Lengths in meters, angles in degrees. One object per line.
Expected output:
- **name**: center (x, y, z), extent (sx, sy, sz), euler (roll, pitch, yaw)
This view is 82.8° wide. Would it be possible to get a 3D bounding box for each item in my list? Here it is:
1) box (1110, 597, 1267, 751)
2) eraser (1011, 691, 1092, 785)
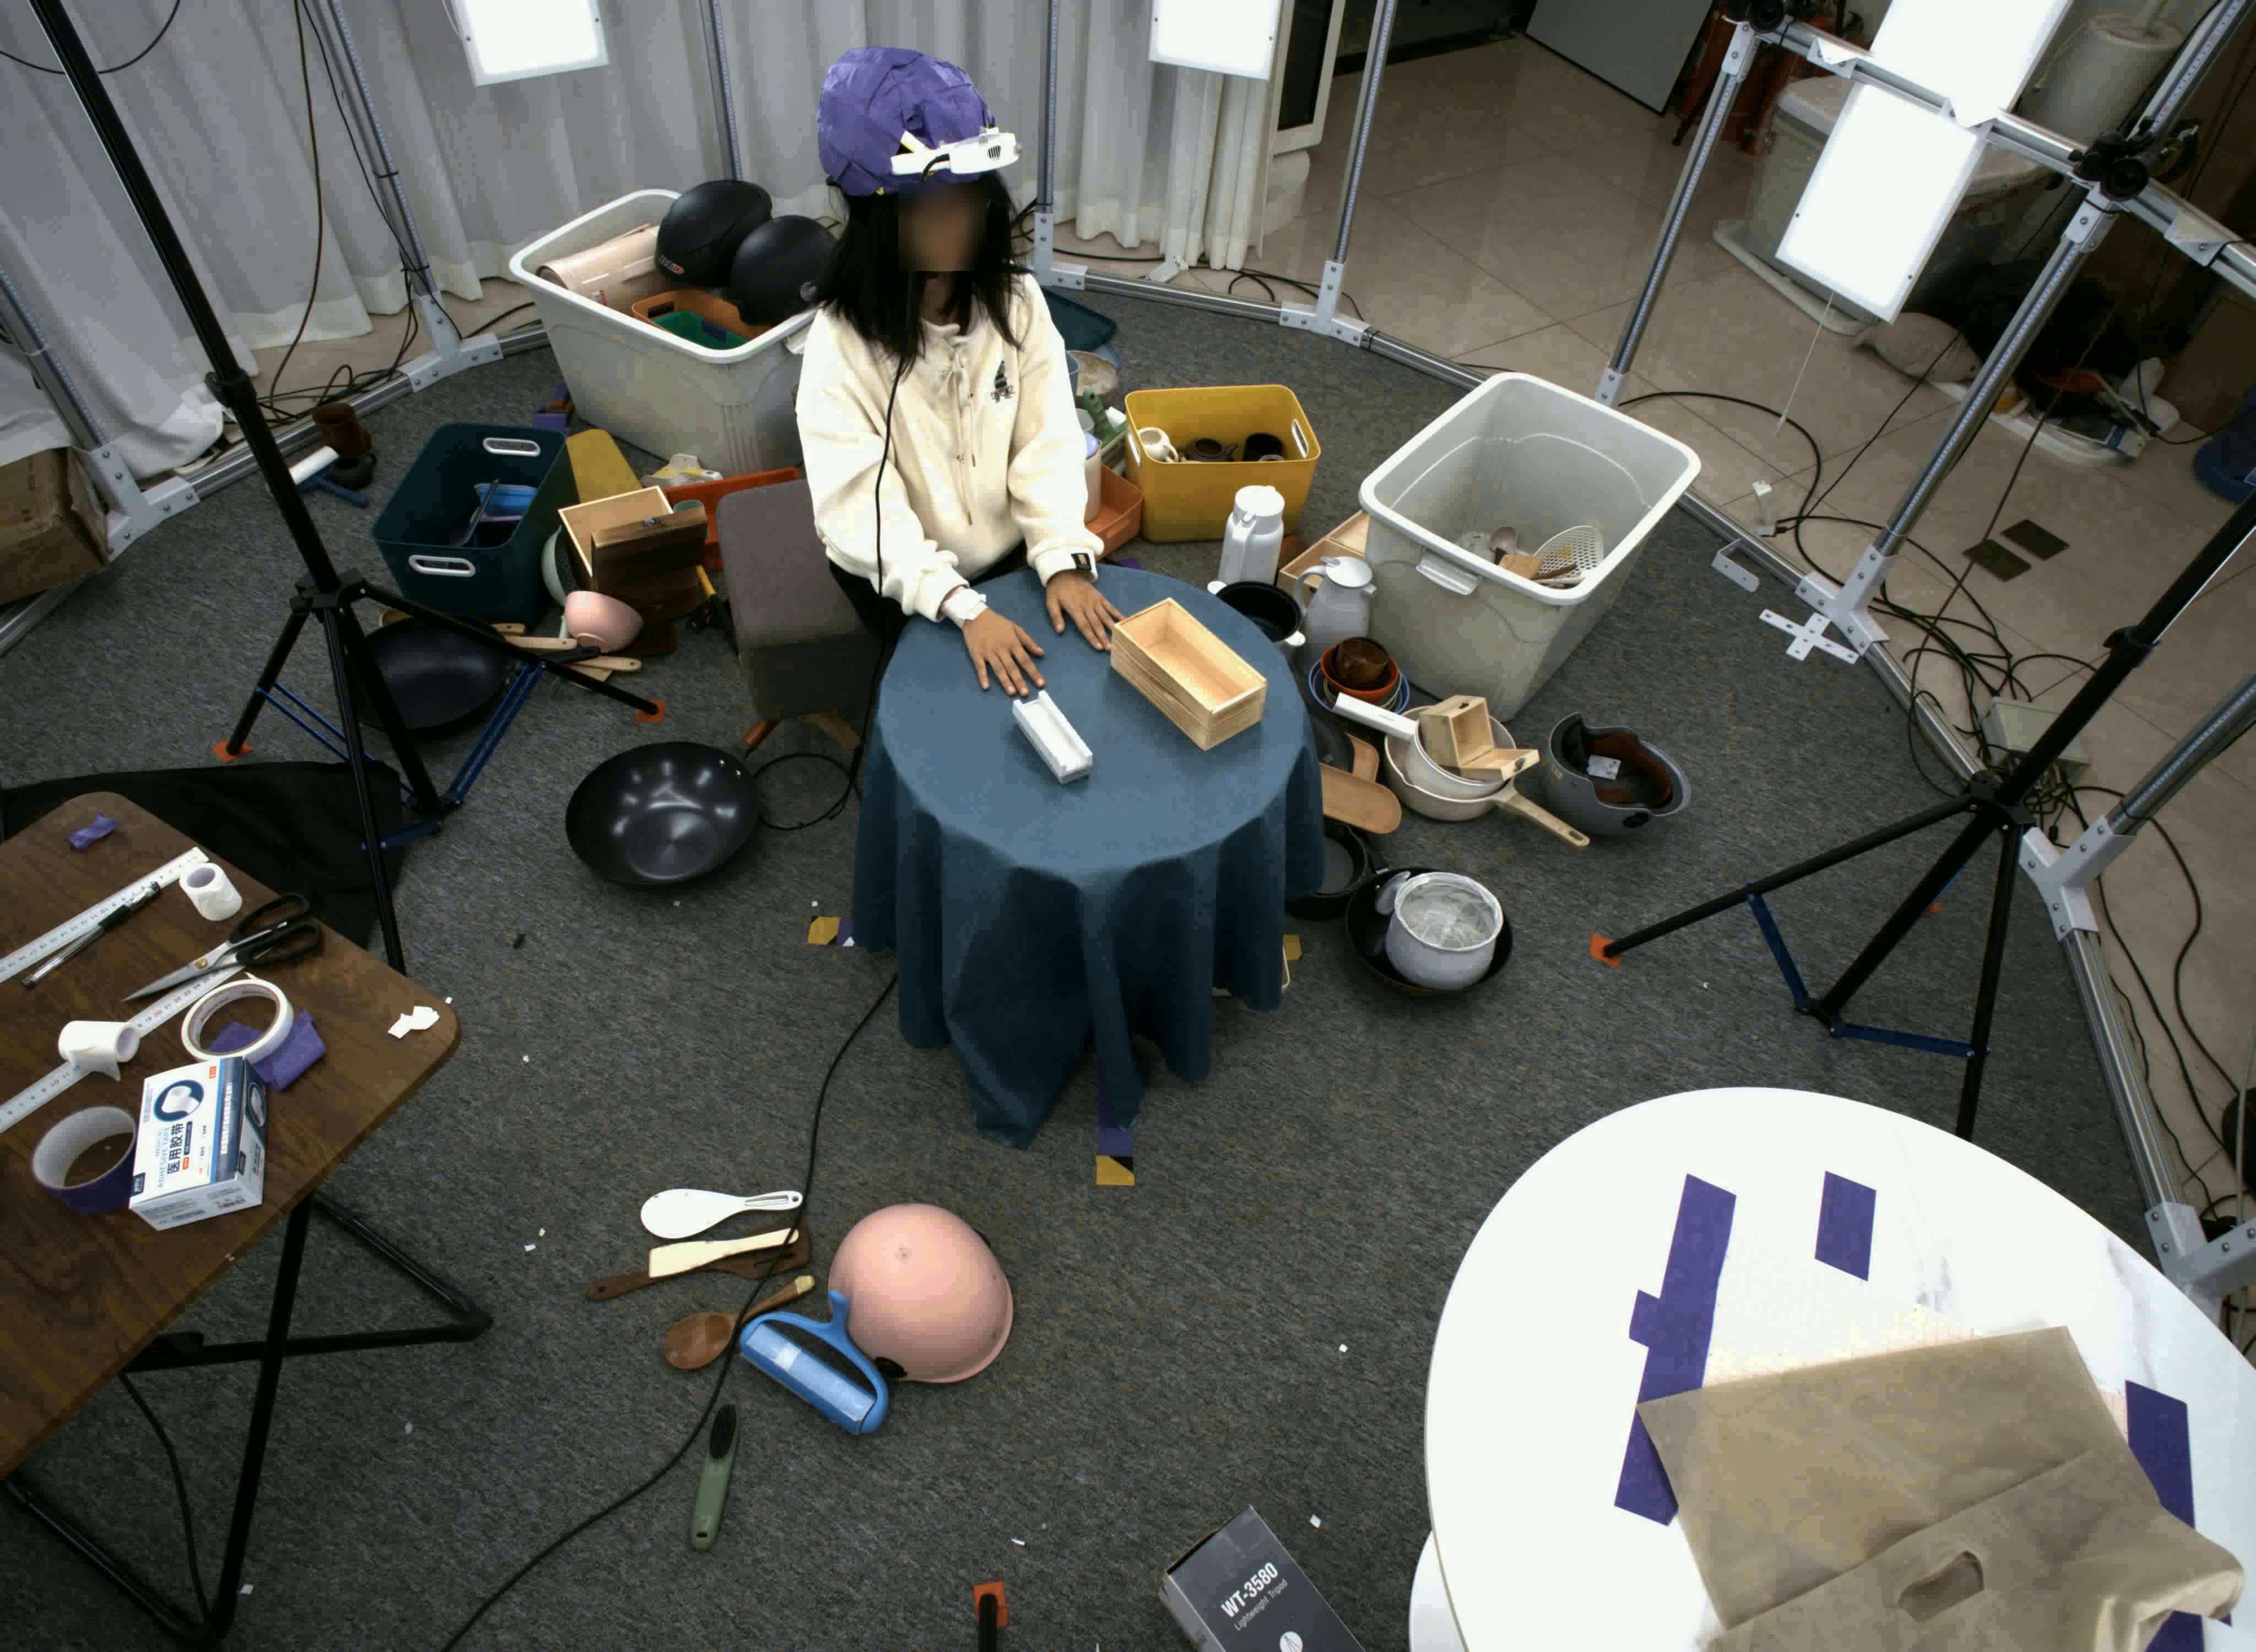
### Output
- **box**: center (0.082, -0.218, 1.813), extent (0.108, 0.078, 0.215), euler (-29, 58, -26)
- **eraser**: center (-0.104, -0.120, 1.736), extent (0.050, 0.045, 0.137), euler (-25, 57, -21)
